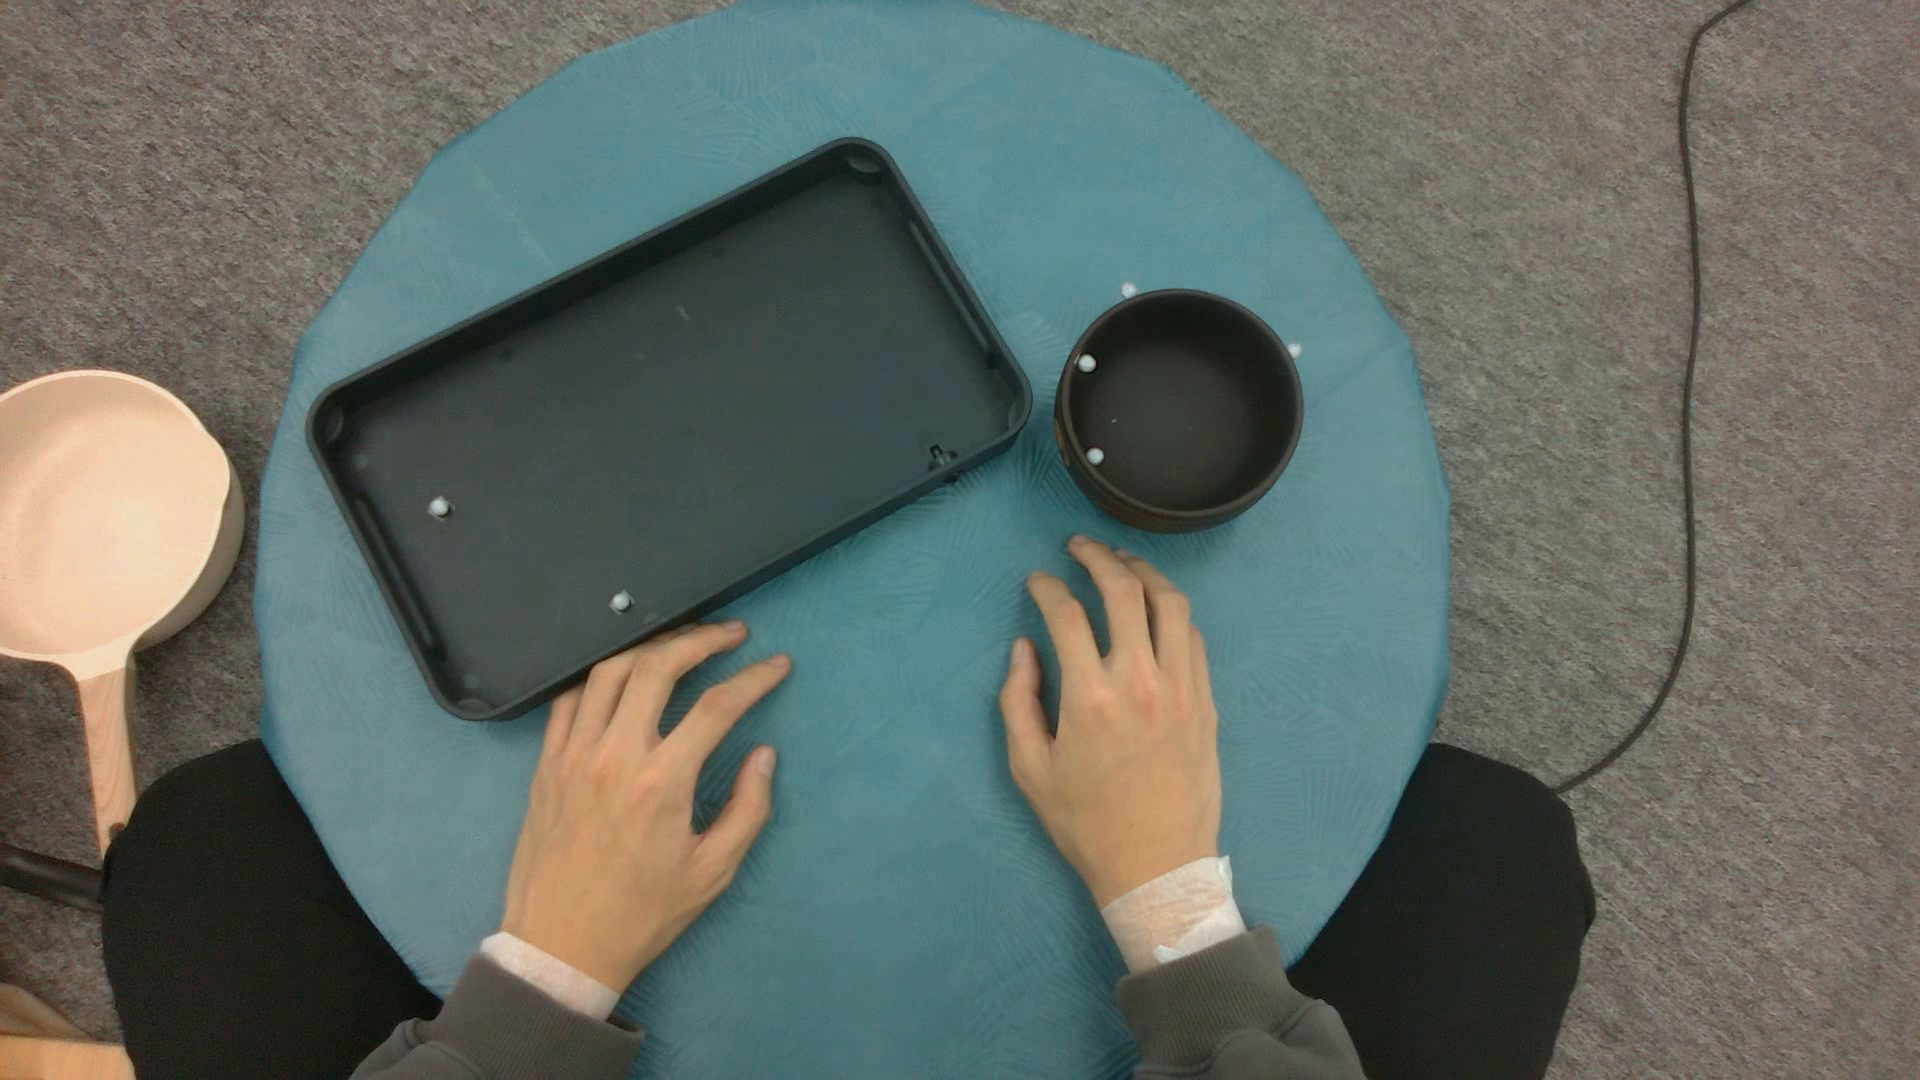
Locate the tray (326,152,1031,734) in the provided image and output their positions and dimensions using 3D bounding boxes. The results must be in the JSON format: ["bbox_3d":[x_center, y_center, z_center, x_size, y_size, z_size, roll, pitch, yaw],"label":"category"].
[{"bbox_3d":[-0.138,-0.053,0.701,0.318,0.037,0.184,-31,79,-9],"label":"tray"}]

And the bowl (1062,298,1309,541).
[{"bbox_3d":[0.109,-0.055,0.690,0.118,0.069,0.118,0,78,-2],"label":"bowl"}]
